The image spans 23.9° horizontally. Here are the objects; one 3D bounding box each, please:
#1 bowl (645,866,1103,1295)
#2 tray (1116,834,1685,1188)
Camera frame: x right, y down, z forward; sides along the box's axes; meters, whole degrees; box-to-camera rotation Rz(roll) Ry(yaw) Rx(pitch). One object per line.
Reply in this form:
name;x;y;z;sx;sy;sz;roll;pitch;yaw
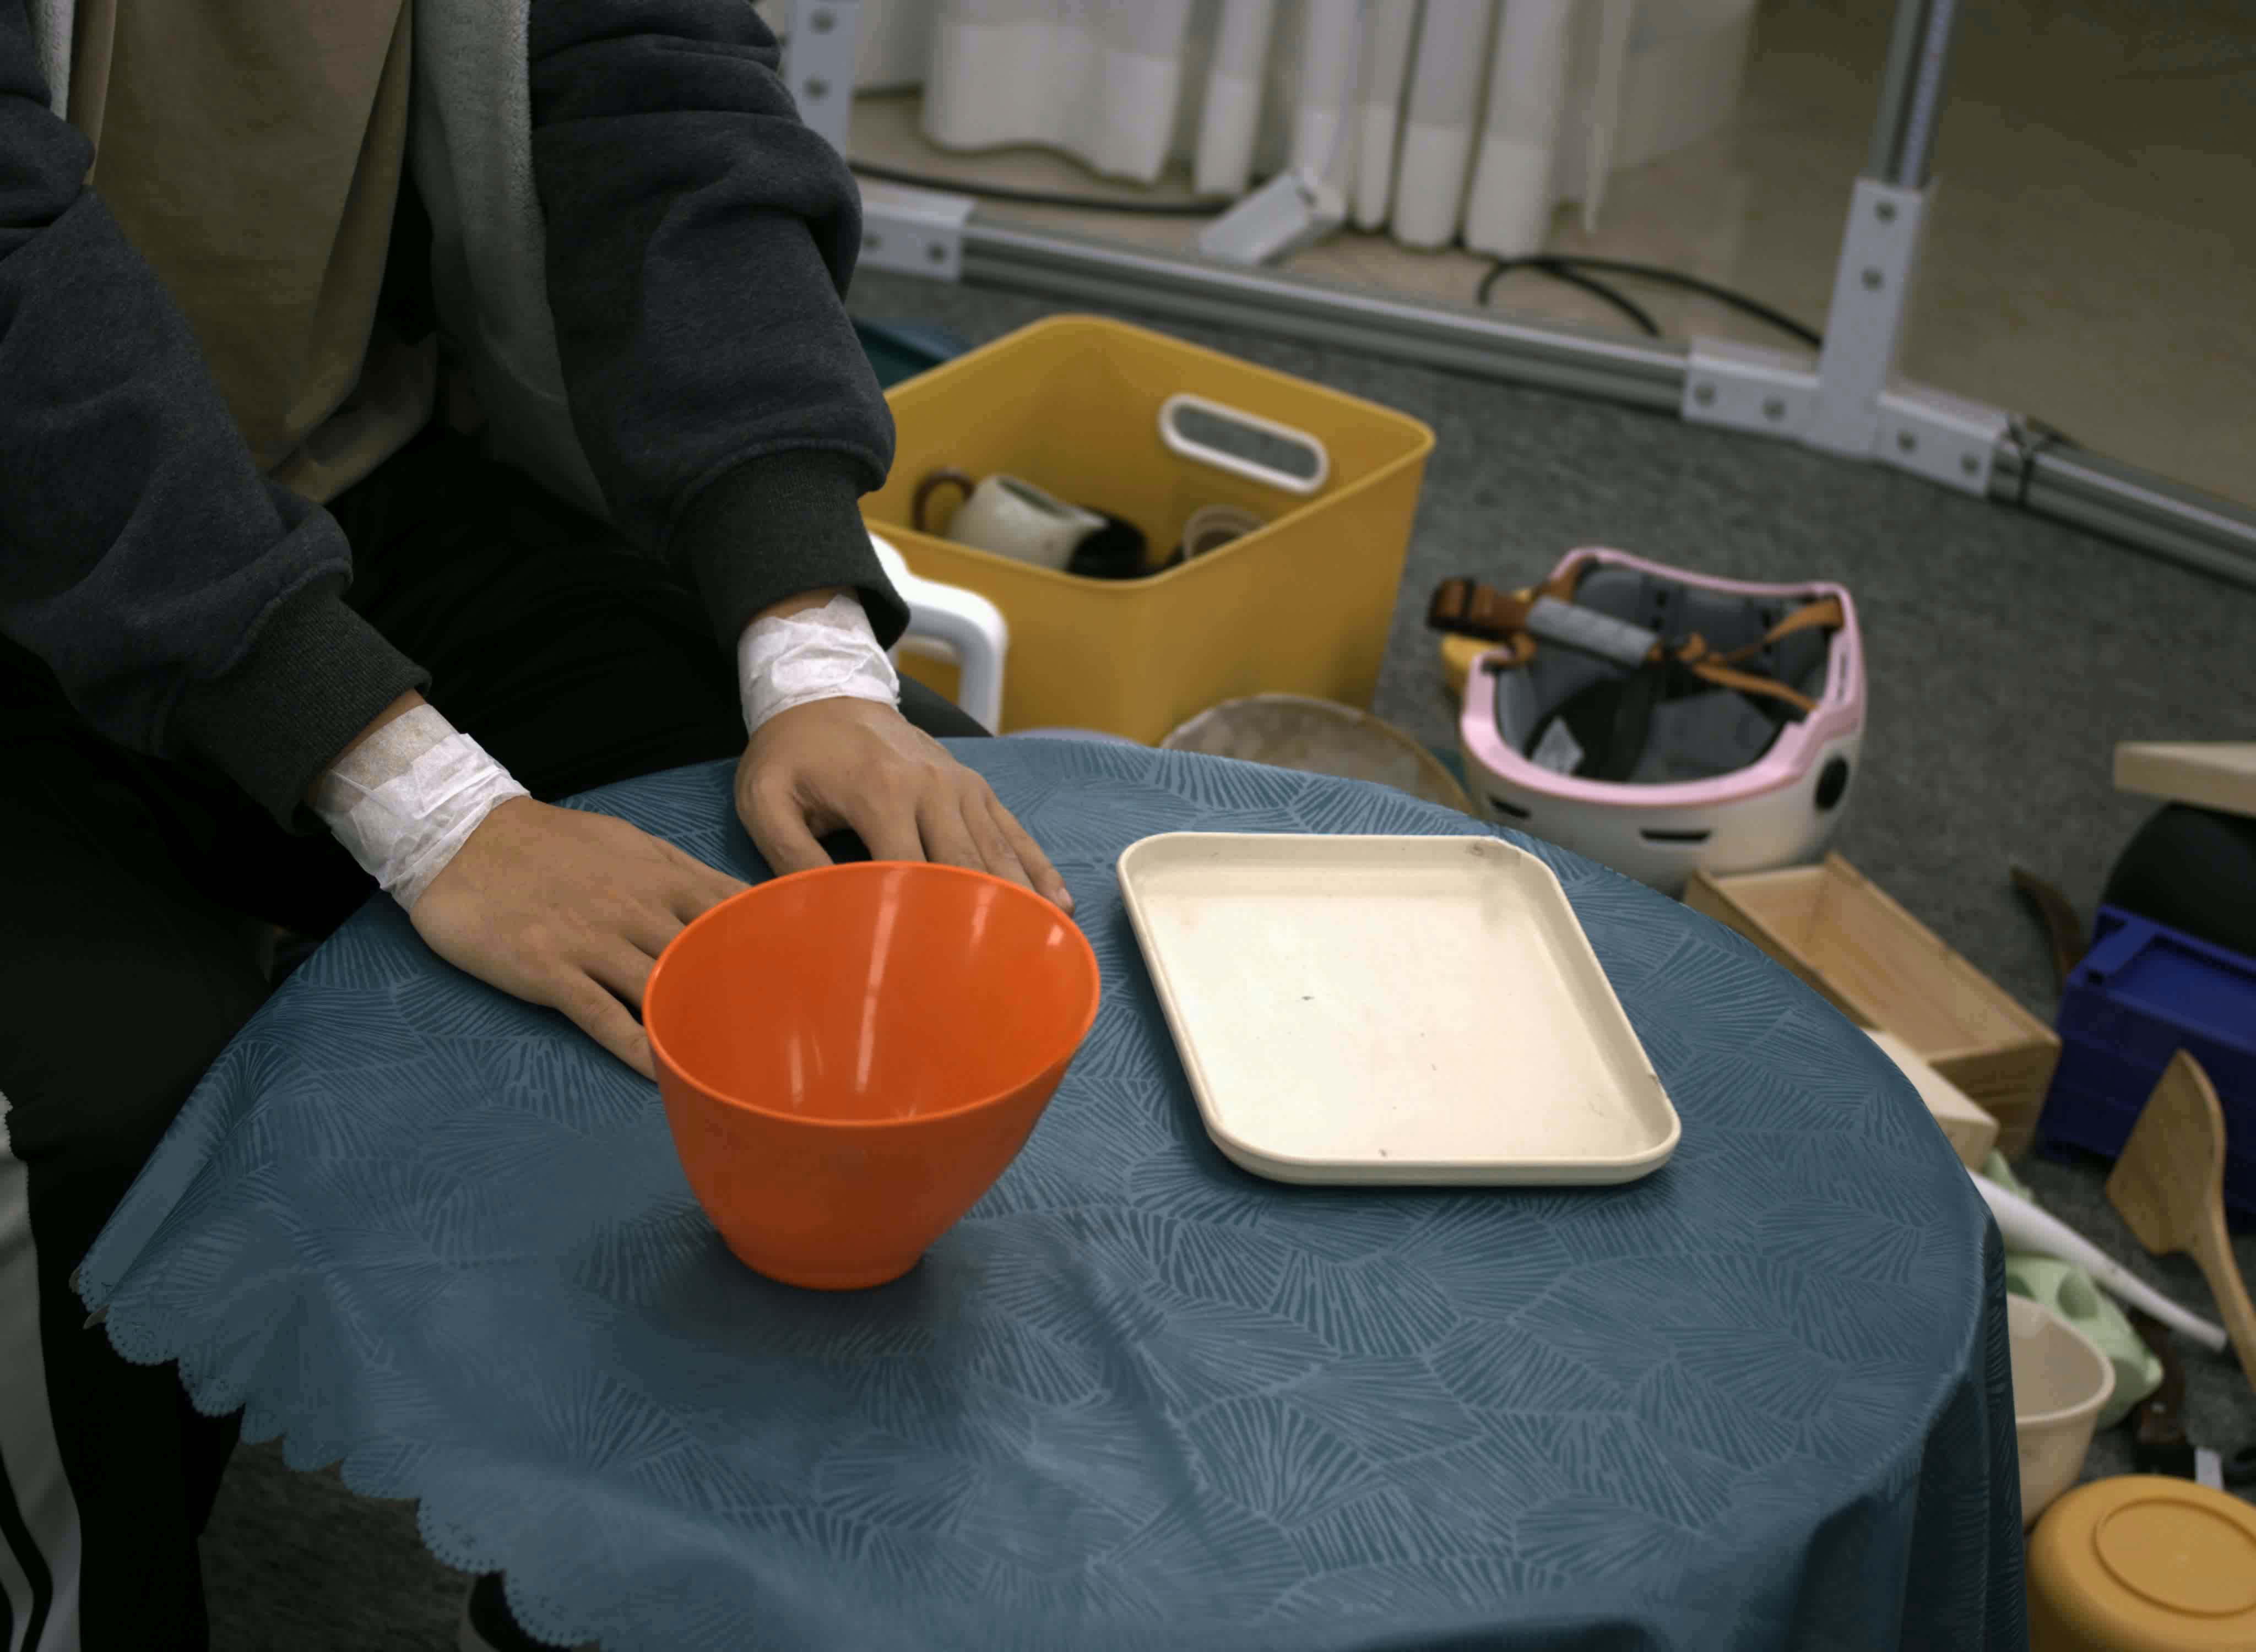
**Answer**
bowl;-0.087;0.090;1.738;0.147;0.104;0.149;6;27;-4
tray;0.094;0.065;1.917;0.170;0.017;0.241;0;28;-11
